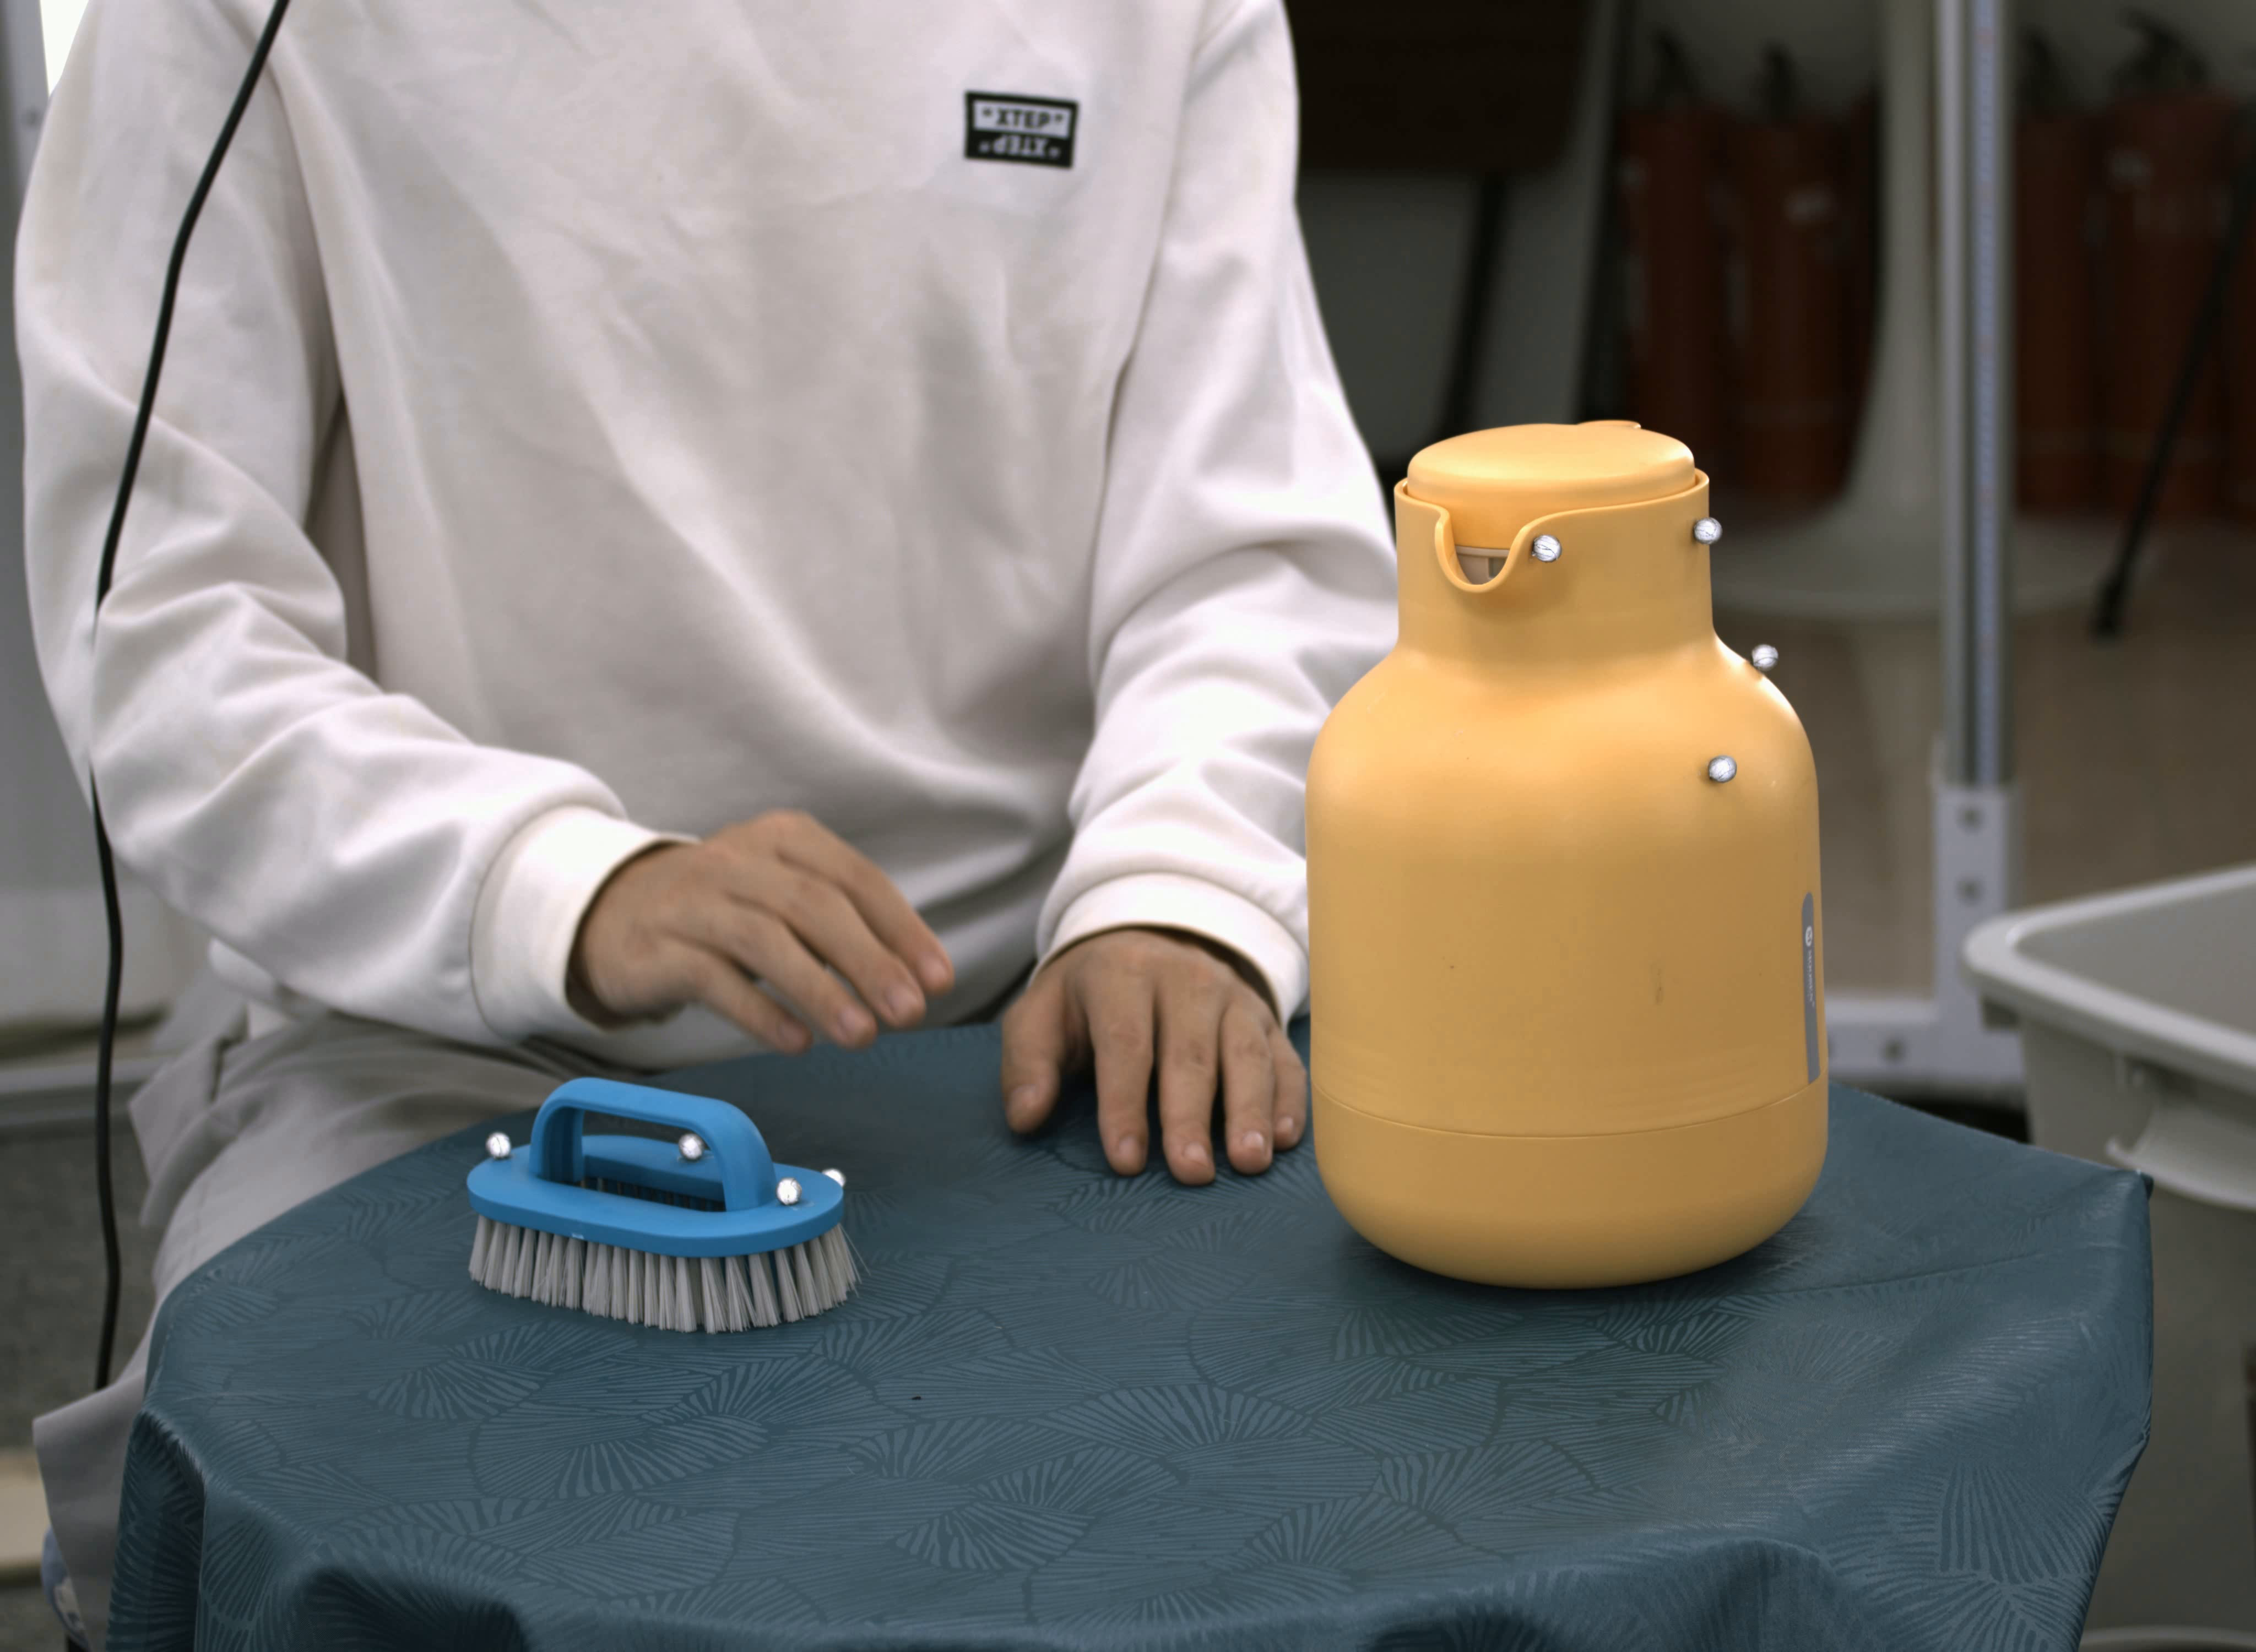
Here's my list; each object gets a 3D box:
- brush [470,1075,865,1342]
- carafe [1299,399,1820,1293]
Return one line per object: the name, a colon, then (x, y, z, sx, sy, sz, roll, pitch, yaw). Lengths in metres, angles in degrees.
brush: (-0.150, 0.114, 1.710, 0.143, 0.064, 0.083, 7, 22, 40)
carafe: (0.142, -0.001, 1.687, 0.163, 0.263, 0.200, 5, 16, 25)
